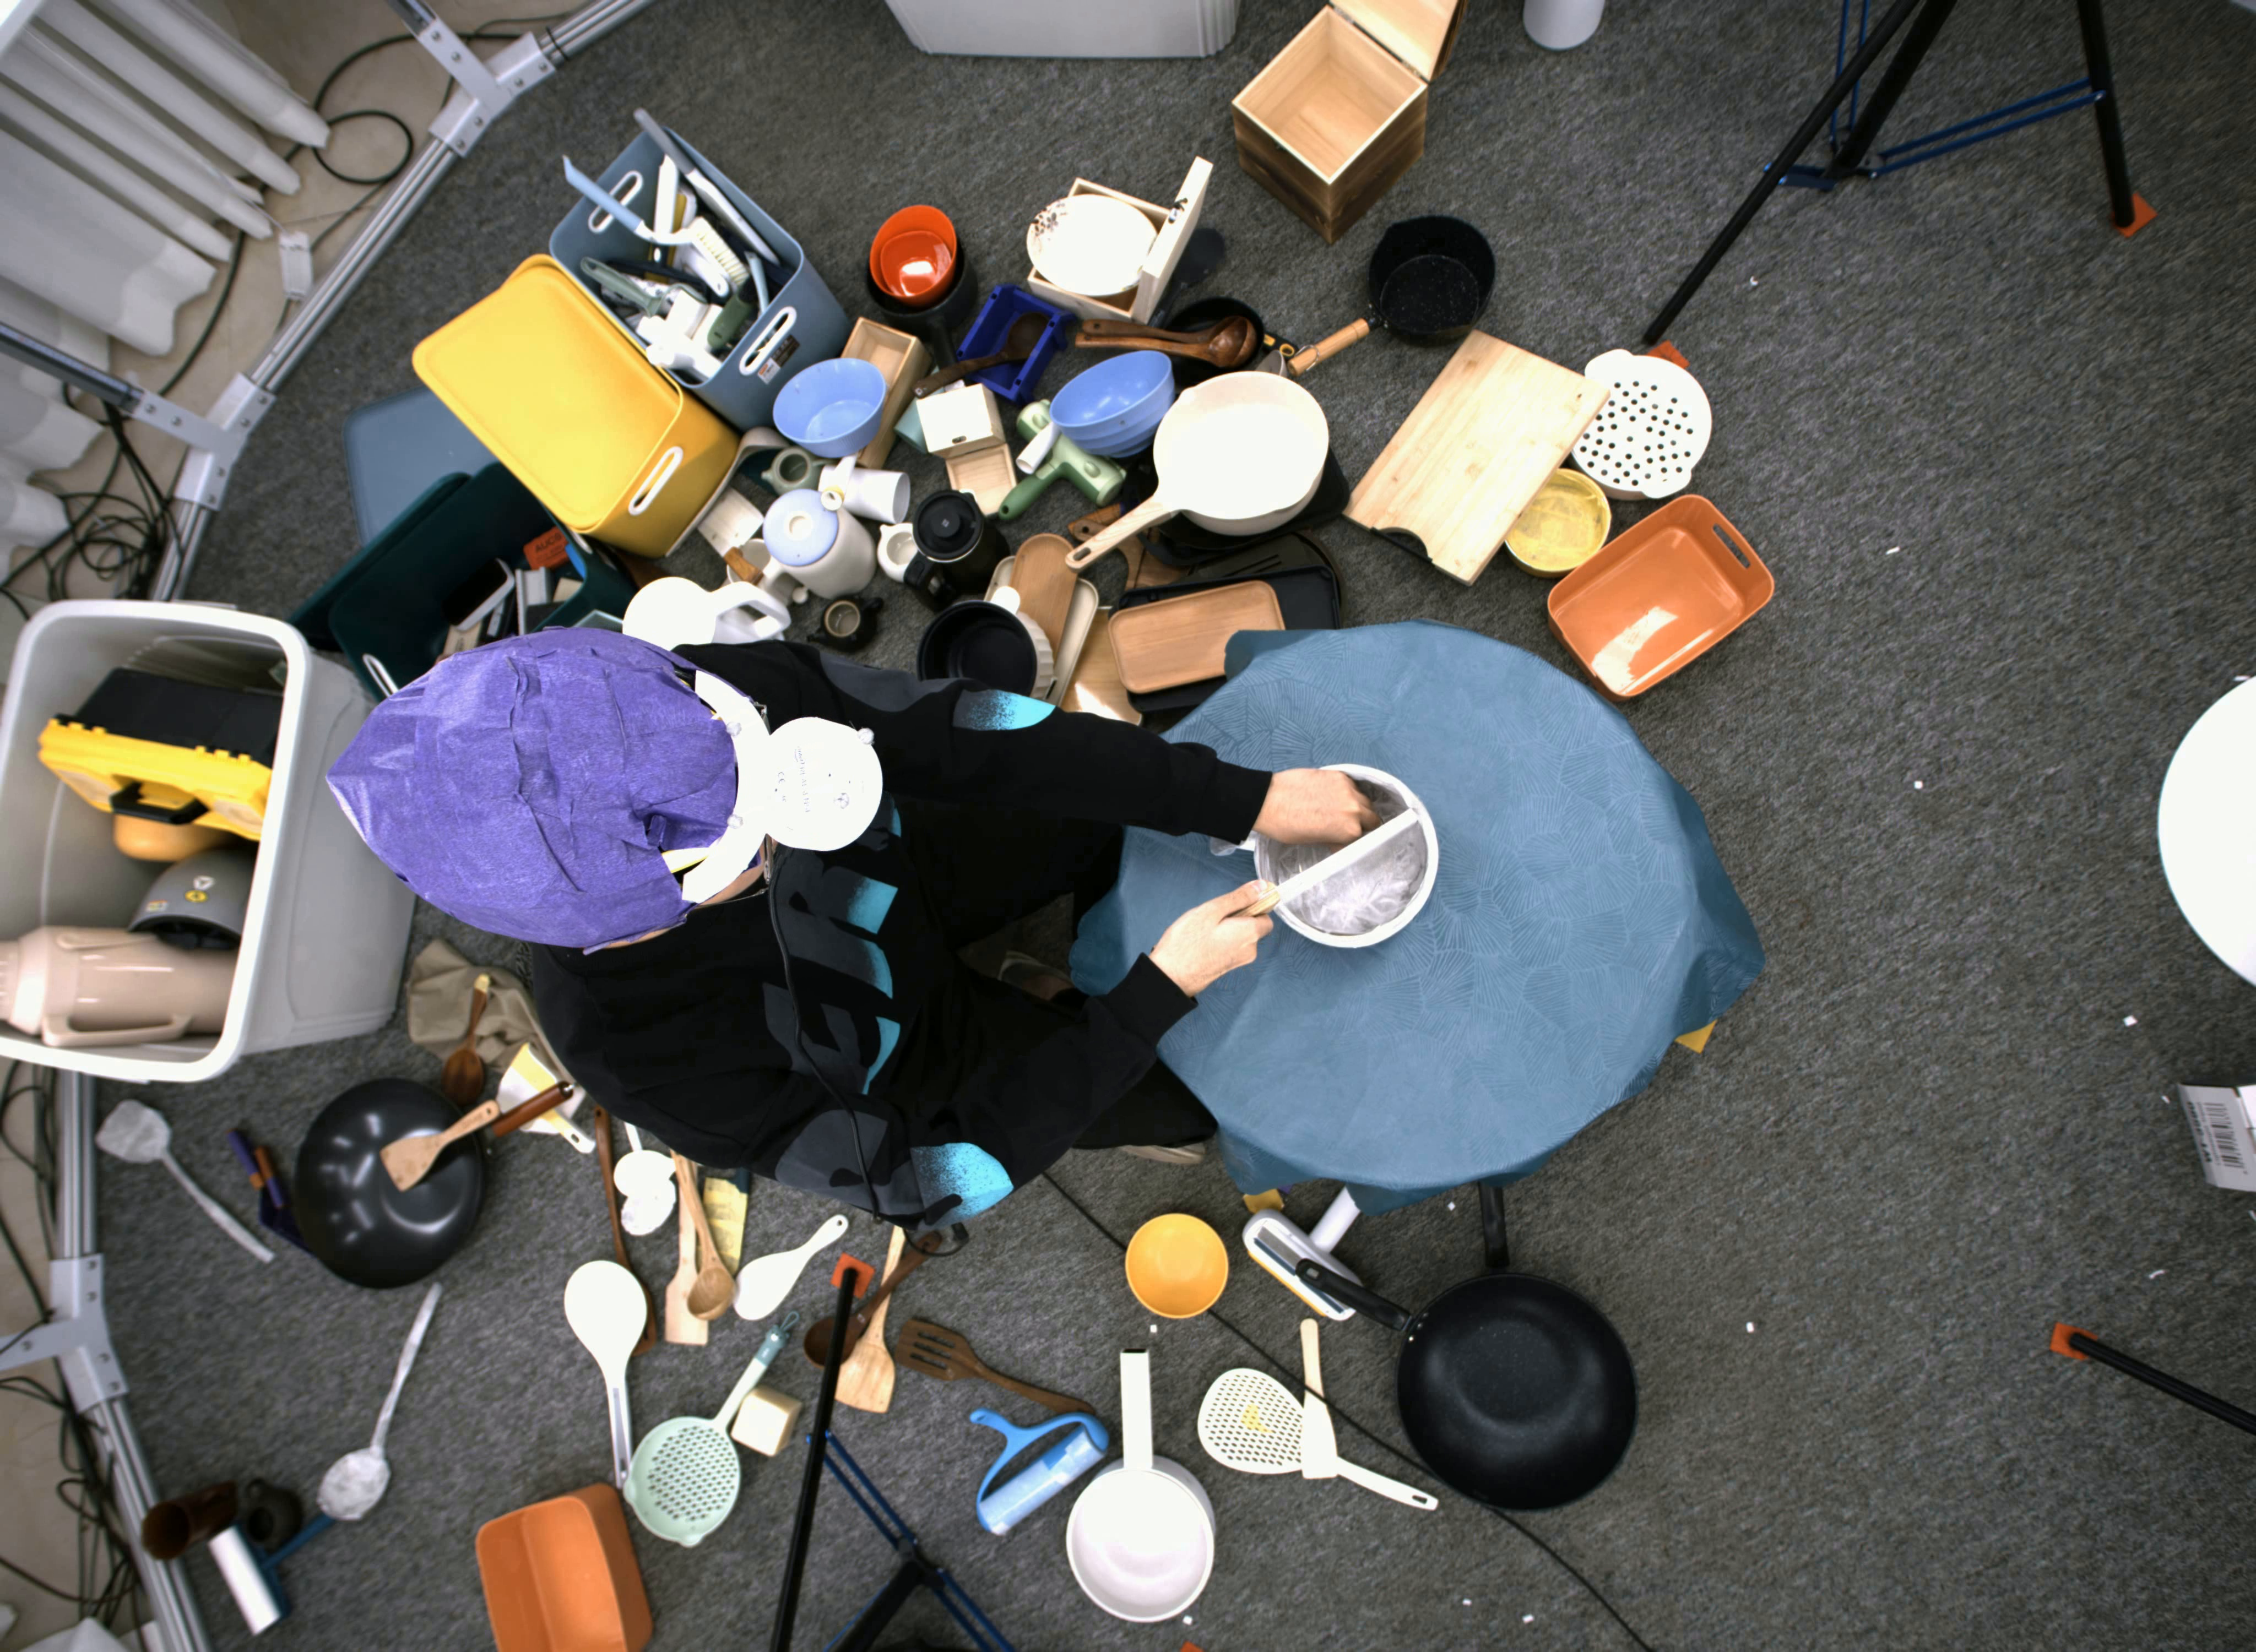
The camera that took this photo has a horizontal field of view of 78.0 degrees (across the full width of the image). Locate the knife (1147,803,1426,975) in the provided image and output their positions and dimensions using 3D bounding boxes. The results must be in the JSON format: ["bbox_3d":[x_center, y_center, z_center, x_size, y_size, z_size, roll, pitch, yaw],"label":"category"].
[{"bbox_3d":[0.154,0.055,1.294,0.312,0.116,0.021,-27,75,-15],"label":"knife"}]

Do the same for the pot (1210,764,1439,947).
[{"bbox_3d":[0.195,0.029,1.407,0.234,0.137,0.178,9,87,10],"label":"pot"}]
